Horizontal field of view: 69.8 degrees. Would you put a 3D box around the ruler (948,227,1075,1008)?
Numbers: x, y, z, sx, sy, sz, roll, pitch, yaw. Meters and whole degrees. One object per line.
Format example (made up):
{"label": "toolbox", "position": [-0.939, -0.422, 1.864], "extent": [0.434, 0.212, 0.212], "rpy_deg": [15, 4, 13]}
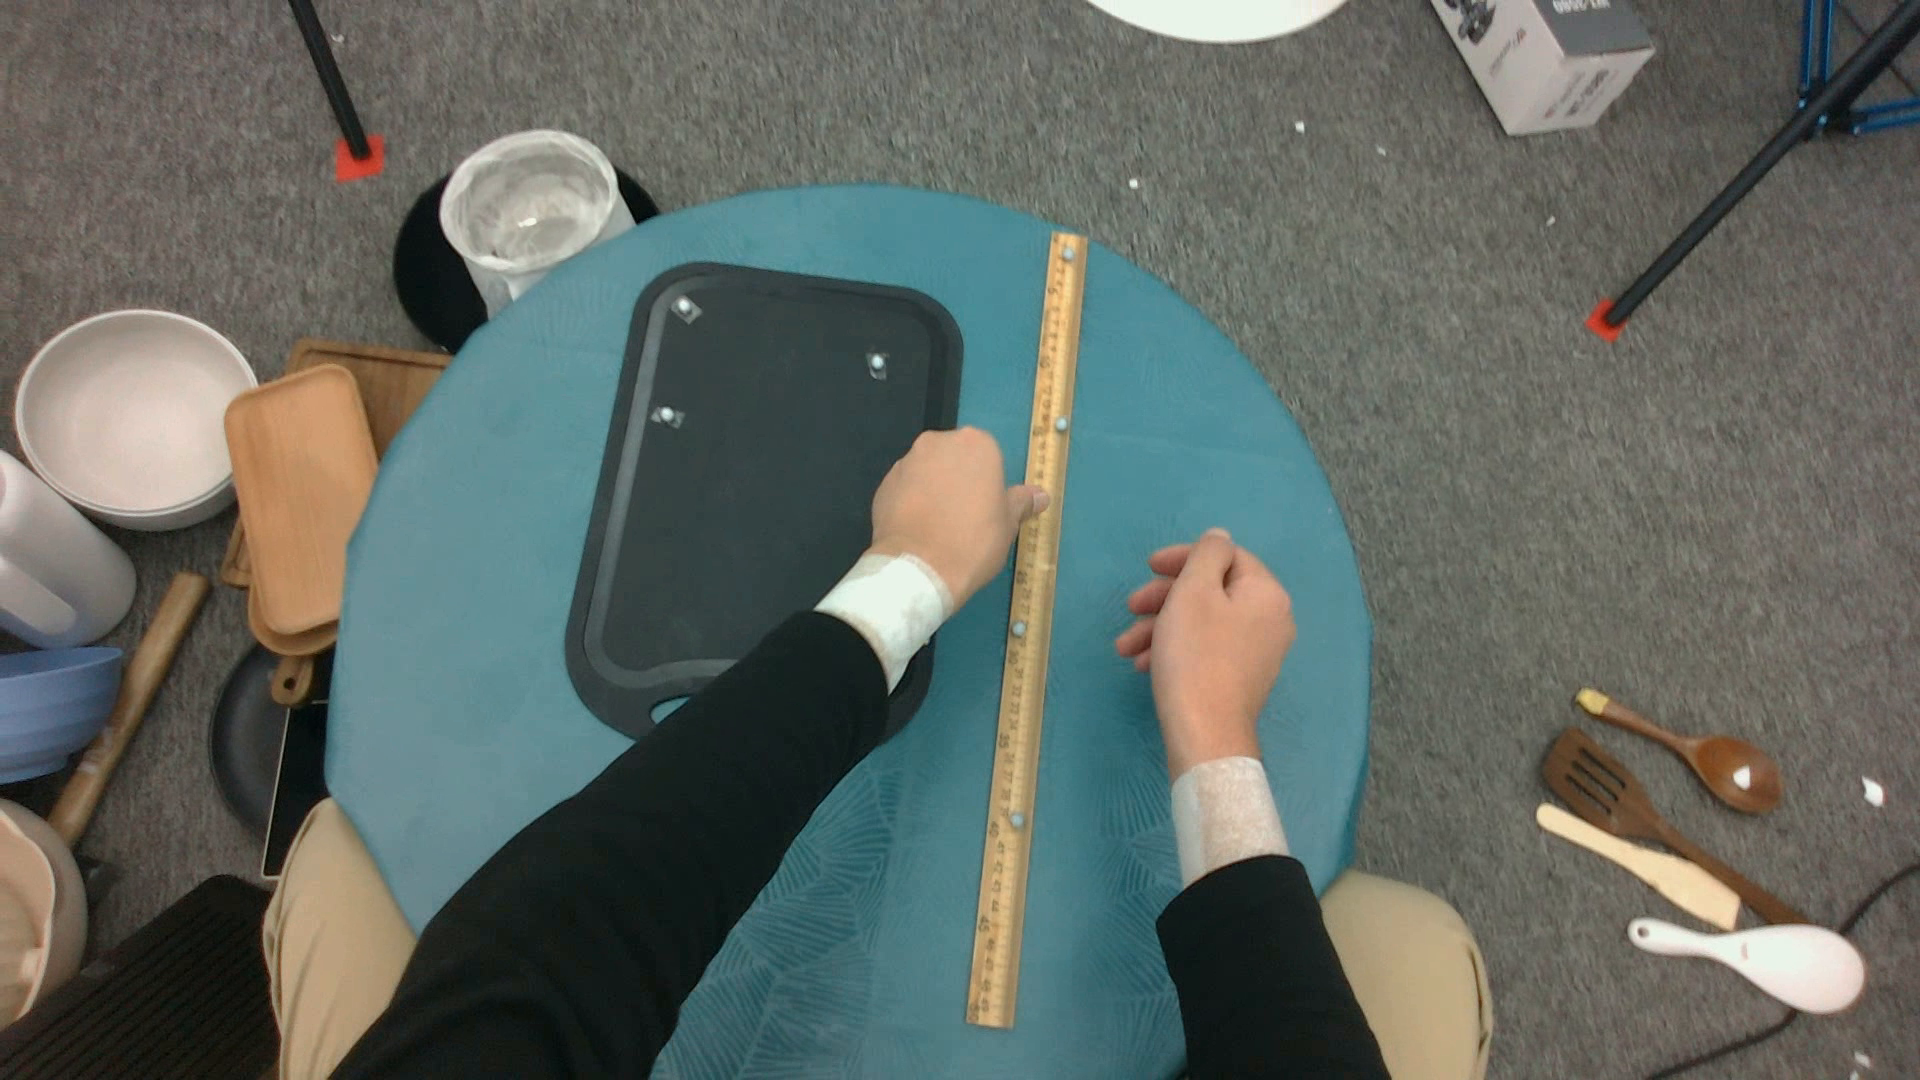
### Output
{"label": "ruler", "position": [0.035, 0.017, 0.822], "extent": [0.027, 0.006, 0.502], "rpy_deg": [9, 65, -3]}

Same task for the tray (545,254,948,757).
{"label": "tray", "position": [-0.121, -0.030, 0.824], "extent": [0.211, 0.010, 0.326], "rpy_deg": [7, 65, -3]}
